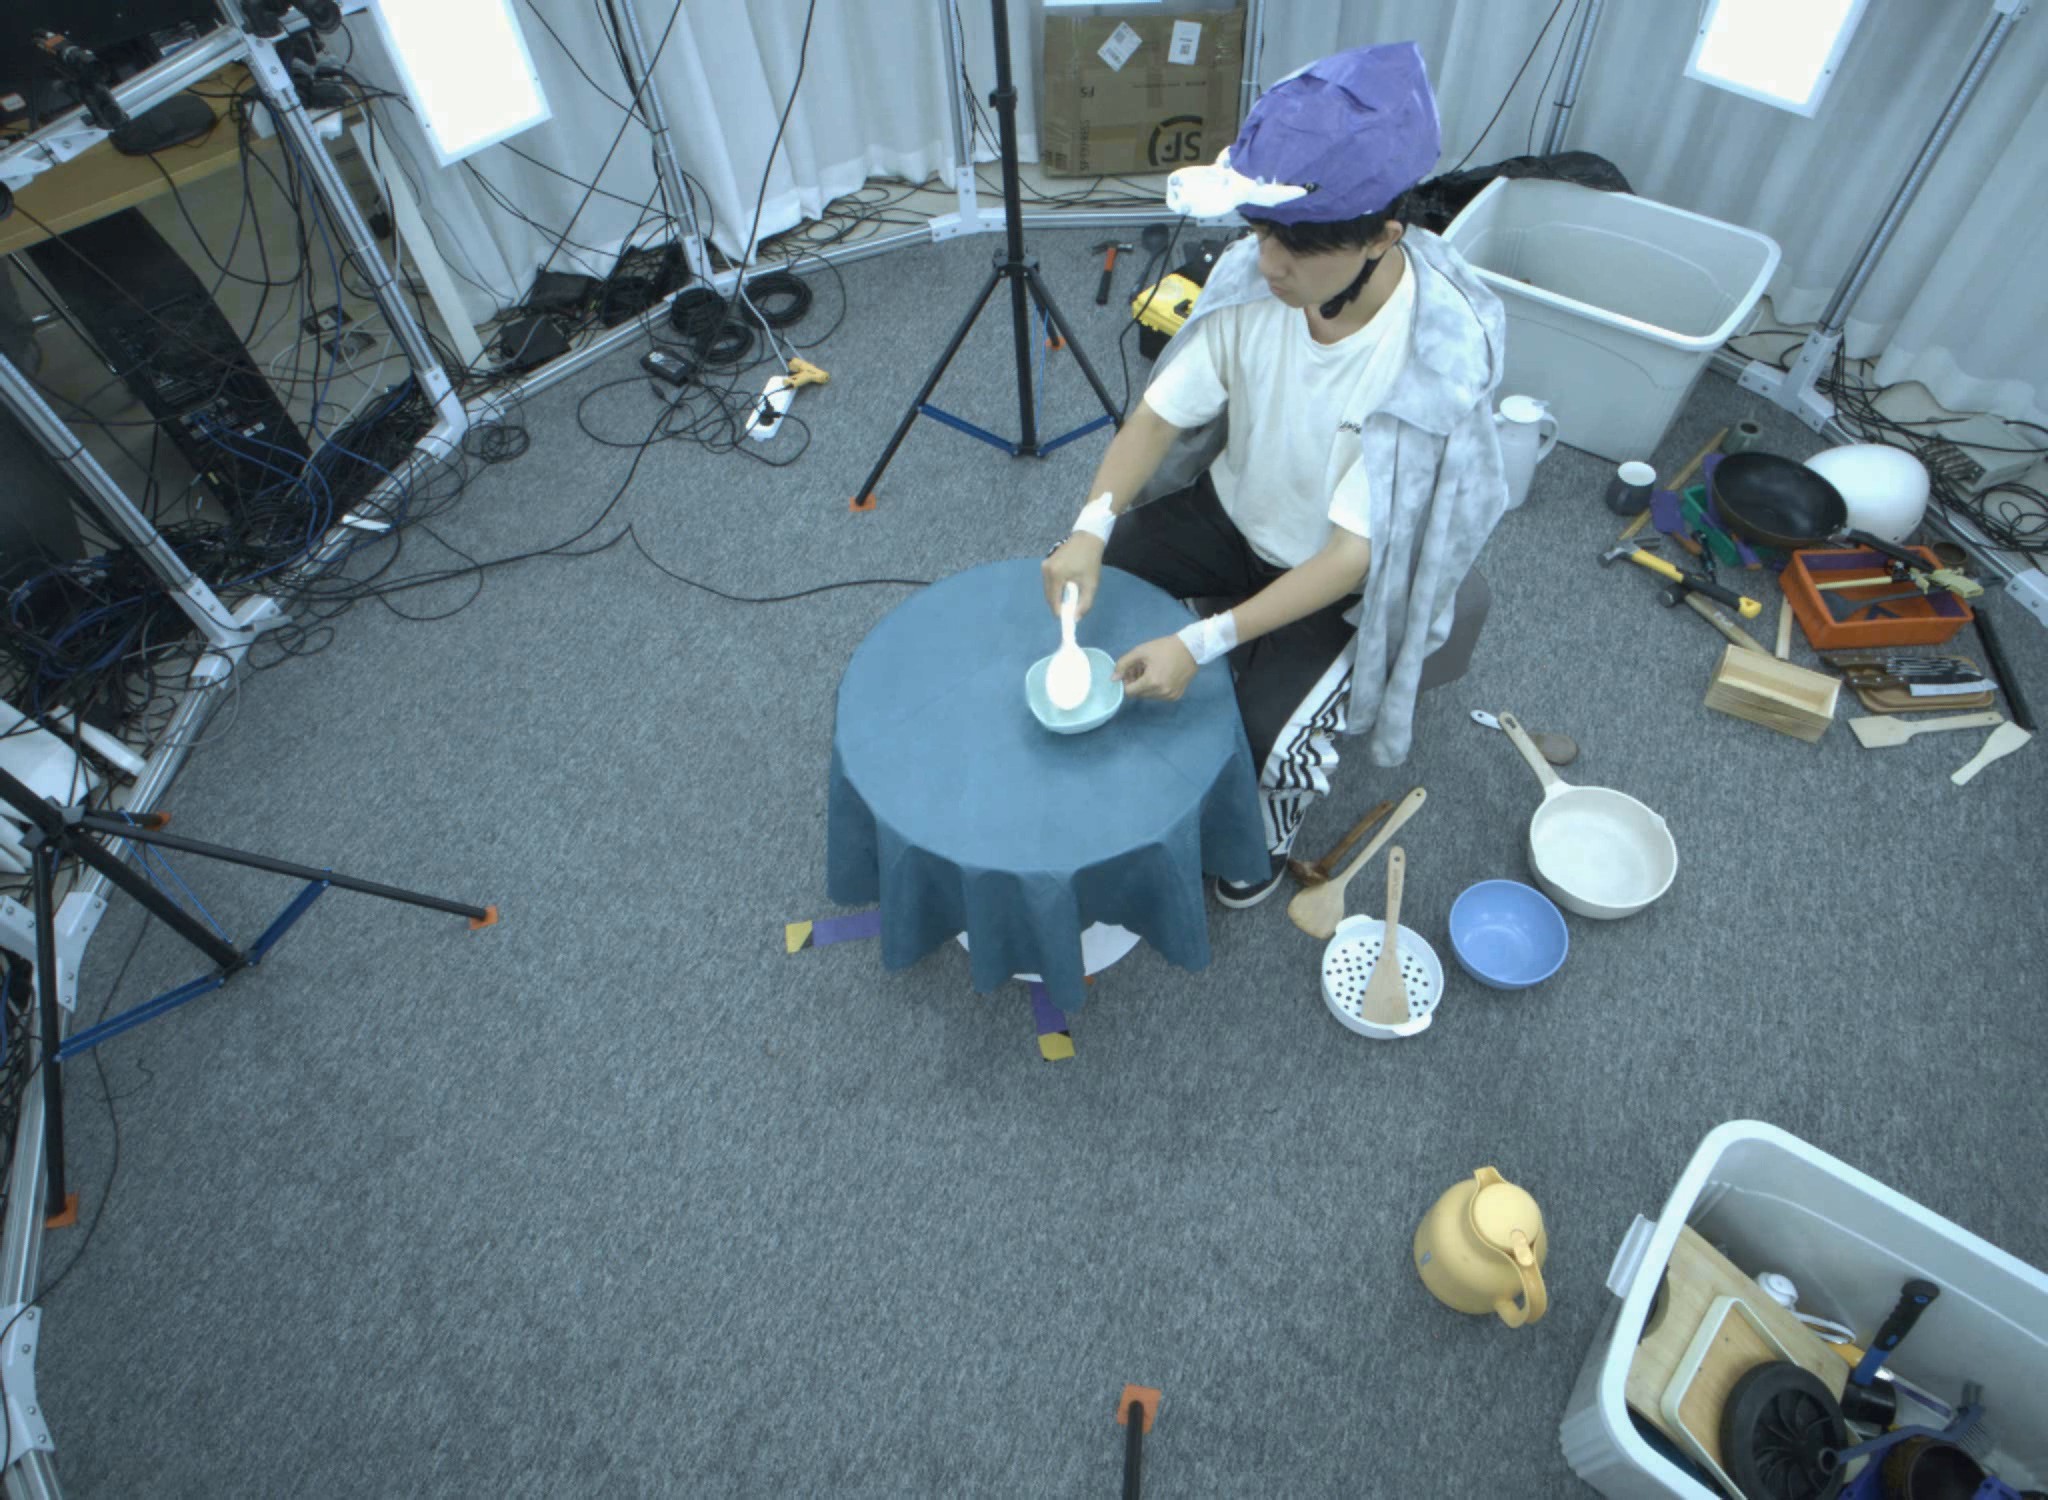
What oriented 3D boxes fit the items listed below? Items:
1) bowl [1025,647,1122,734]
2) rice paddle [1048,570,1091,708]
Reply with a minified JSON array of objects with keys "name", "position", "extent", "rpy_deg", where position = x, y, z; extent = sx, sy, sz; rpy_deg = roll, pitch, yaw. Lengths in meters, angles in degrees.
[{"name":"bowl","position":[0.076,-0.077,1.801],"extent":[0.150,0.059,0.150],"rpy_deg":[-5,55,8]},{"name":"rice paddle","position":[0.065,-0.161,1.788],"extent":[0.068,0.030,0.204],"rpy_deg":[-5,77,25]}]
